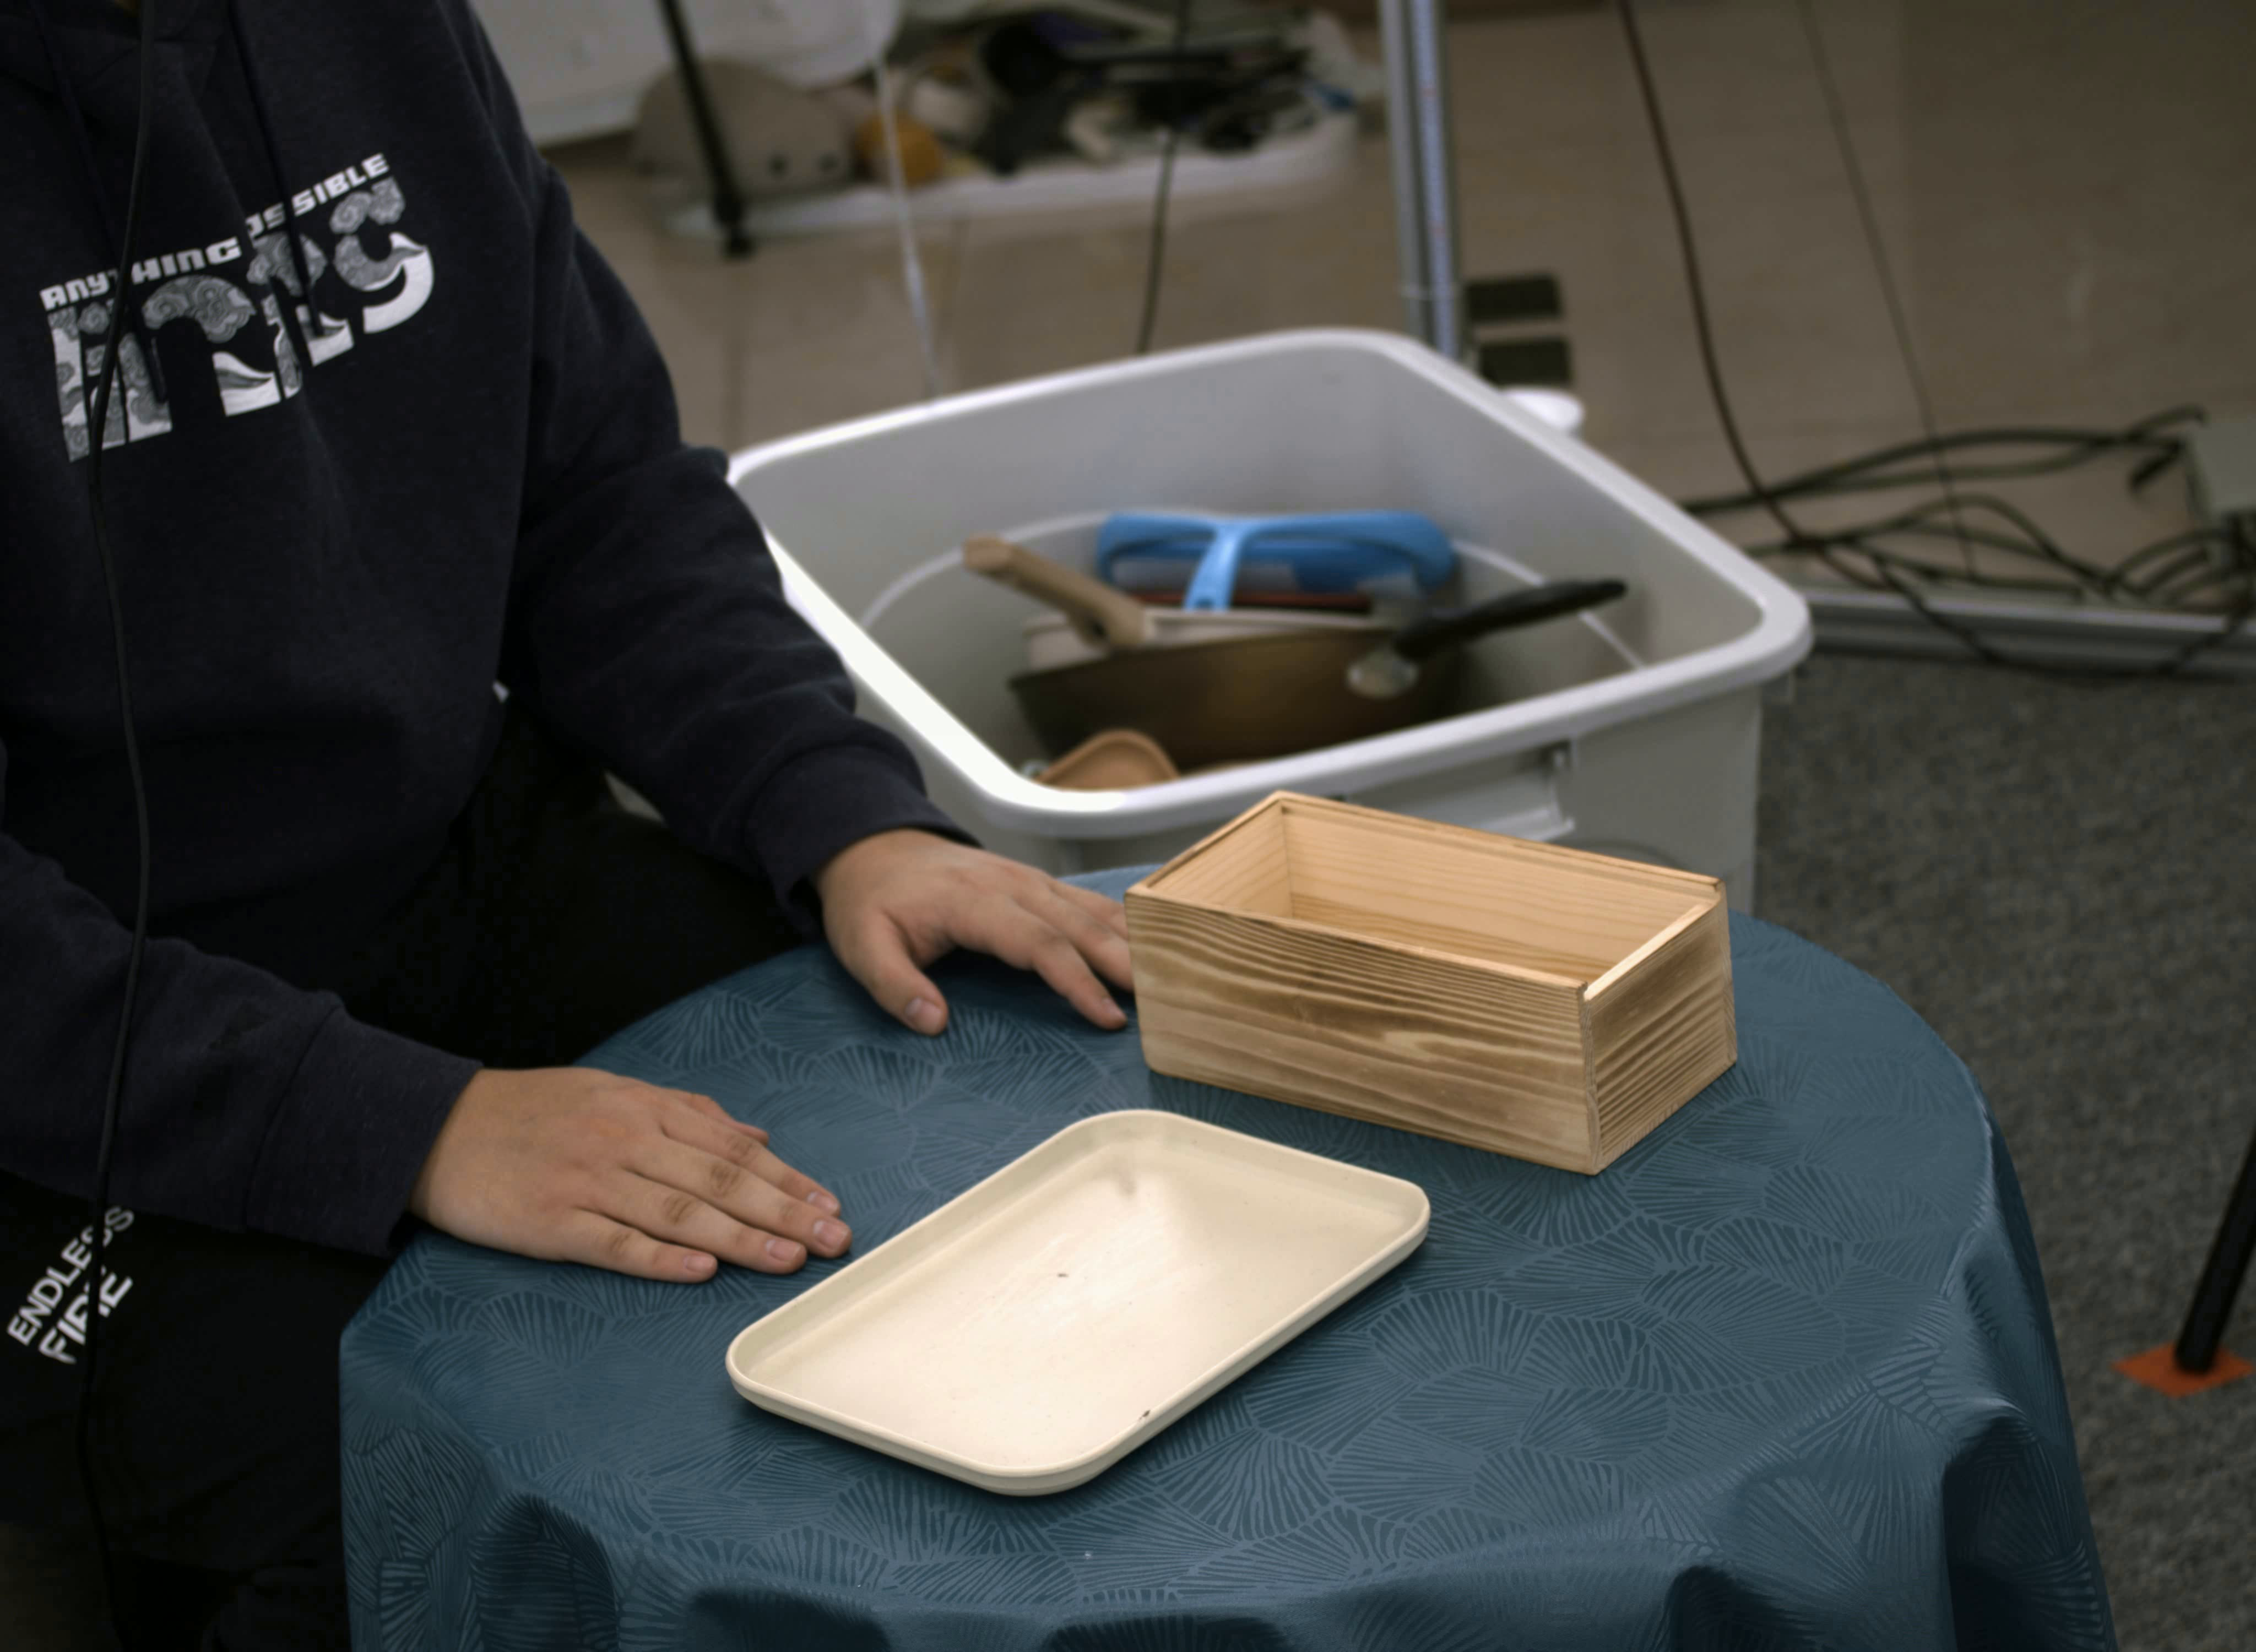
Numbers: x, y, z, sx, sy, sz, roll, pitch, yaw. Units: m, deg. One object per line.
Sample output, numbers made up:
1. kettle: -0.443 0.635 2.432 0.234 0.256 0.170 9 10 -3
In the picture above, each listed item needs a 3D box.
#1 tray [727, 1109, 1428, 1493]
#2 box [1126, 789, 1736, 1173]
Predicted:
1. tray: -0.016 0.171 2.061 0.170 0.018 0.237 14 31 39
2. box: 0.117 0.057 2.200 0.210 0.081 0.106 12 30 35
